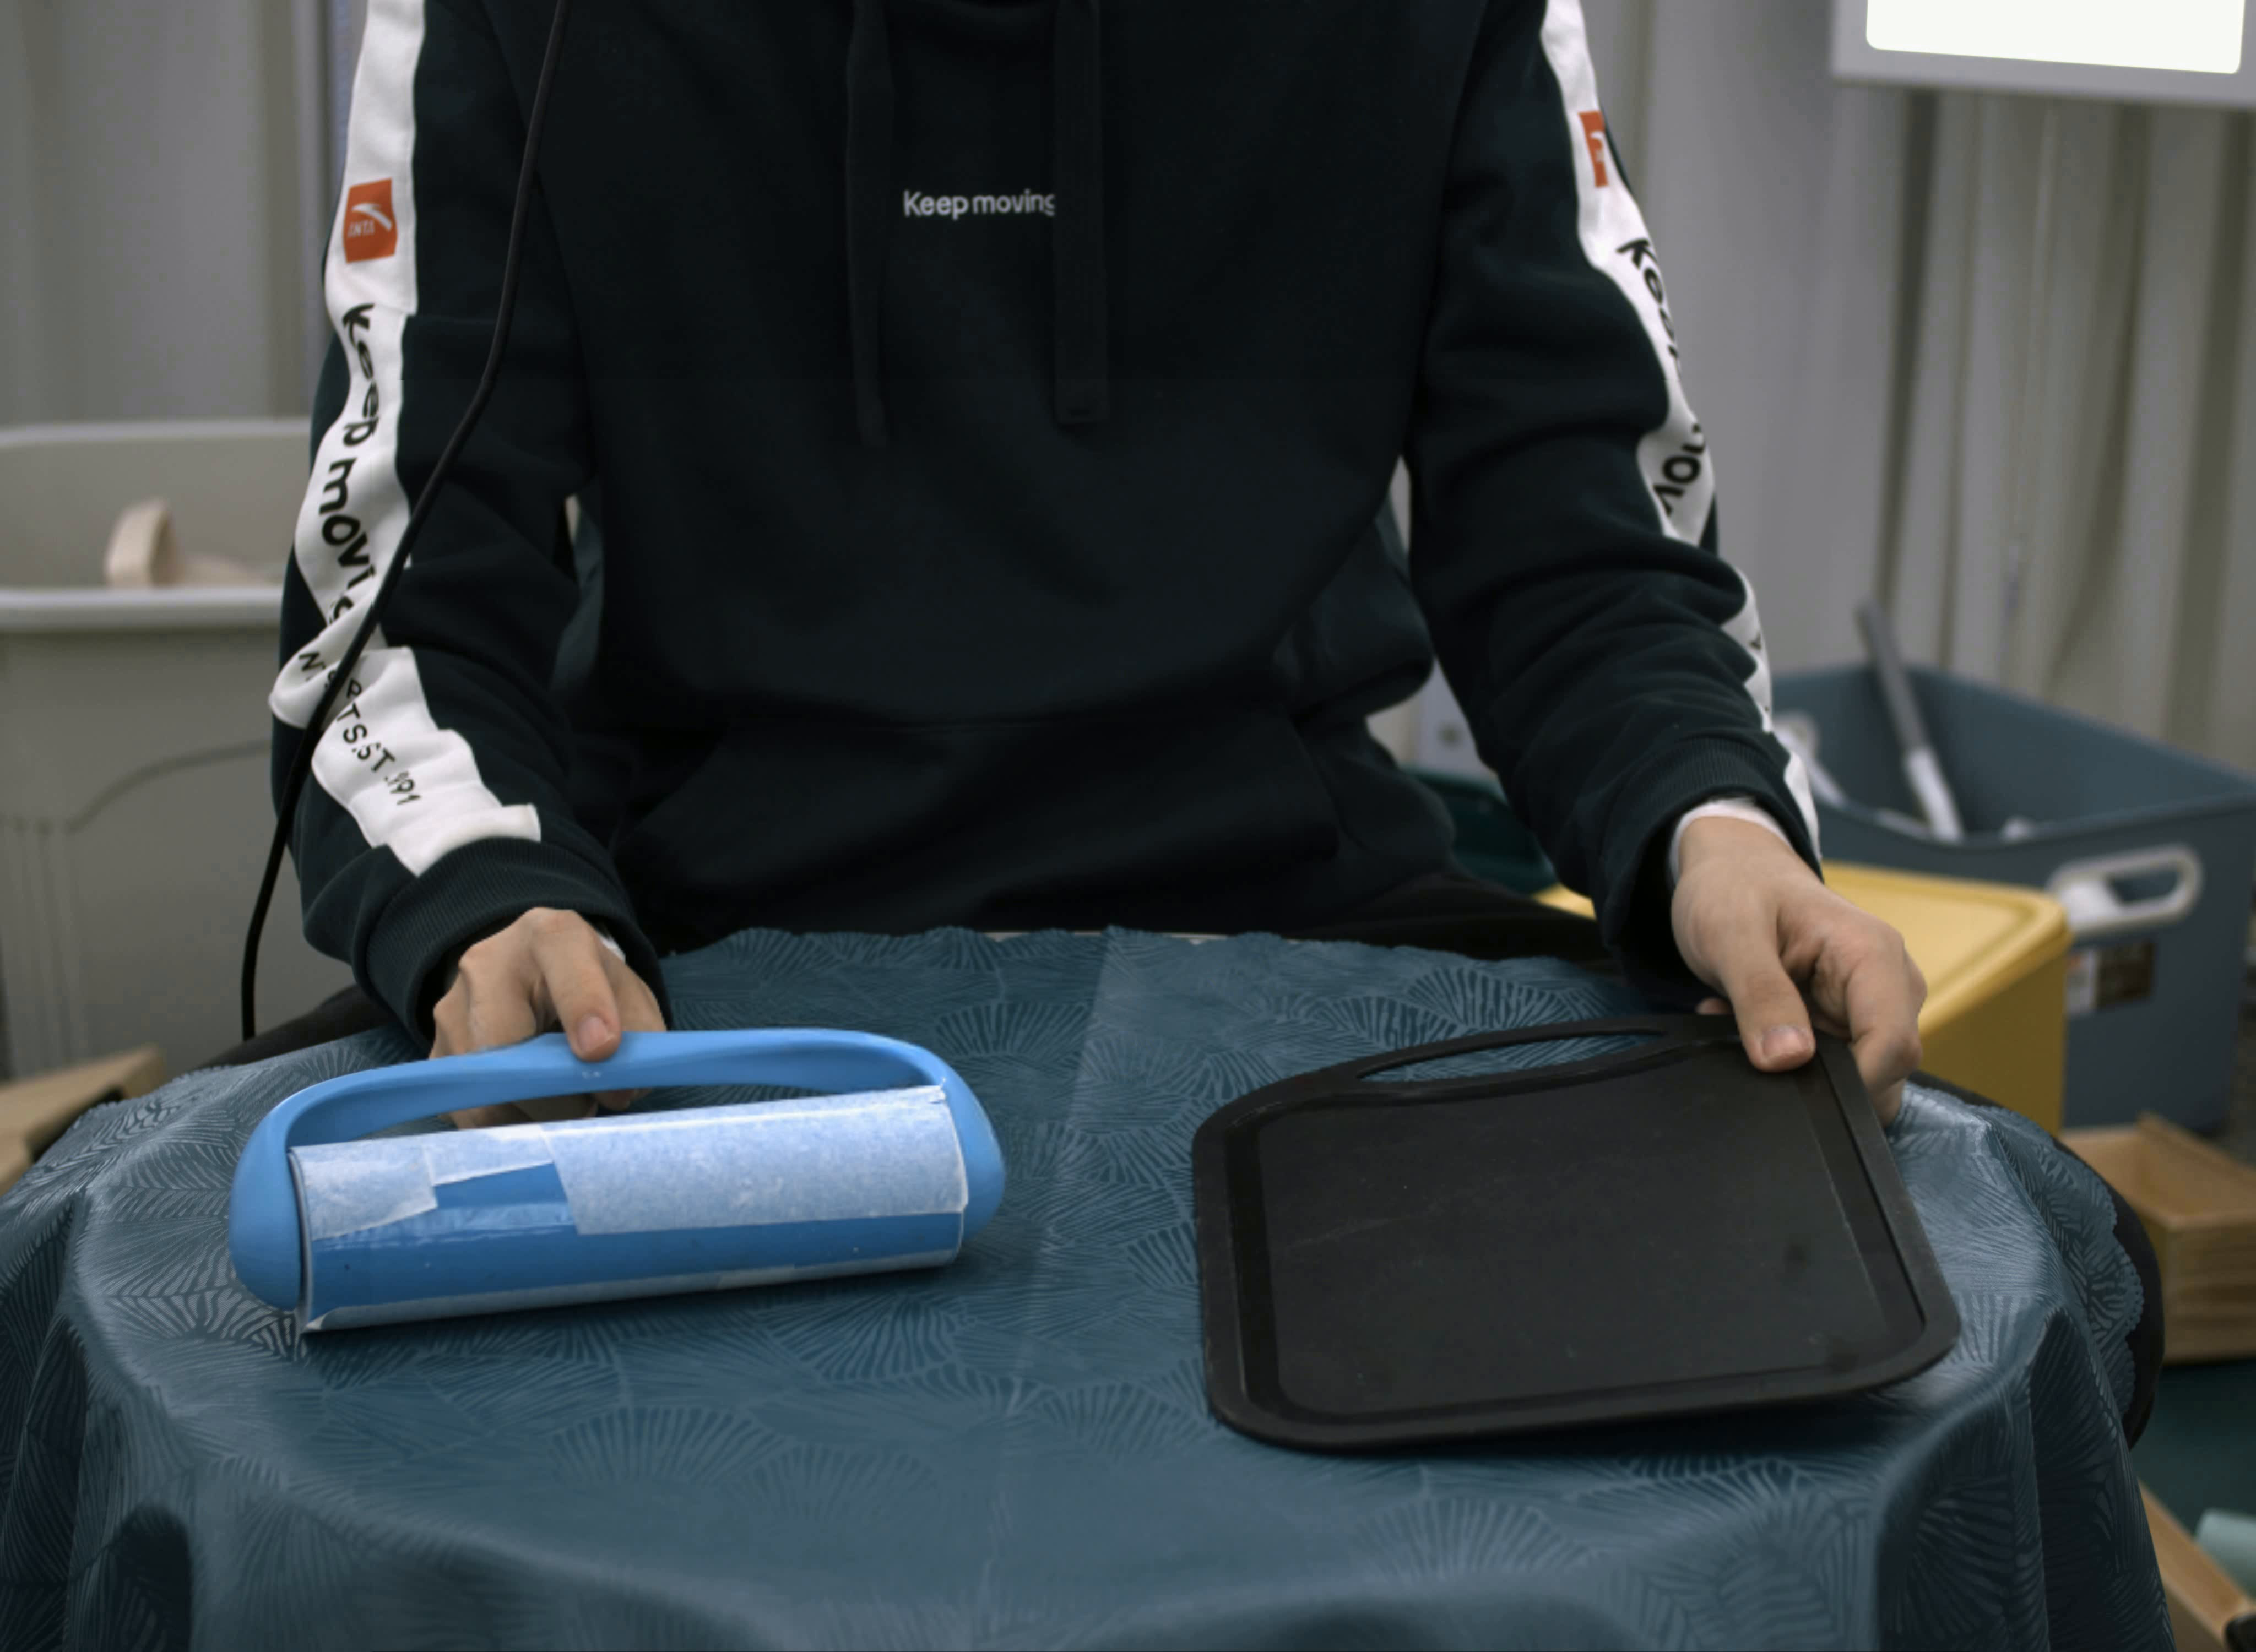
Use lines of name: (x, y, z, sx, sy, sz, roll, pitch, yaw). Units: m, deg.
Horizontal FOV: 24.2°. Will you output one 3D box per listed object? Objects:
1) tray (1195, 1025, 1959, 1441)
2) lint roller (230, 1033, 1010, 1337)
tray: (0.124, 0.112, 1.563, 0.210, 0.010, 0.323, -6, 16, 2)
lint roller: (-0.165, 0.094, 1.573, 0.229, 0.068, 0.178, -7, 18, -19)
